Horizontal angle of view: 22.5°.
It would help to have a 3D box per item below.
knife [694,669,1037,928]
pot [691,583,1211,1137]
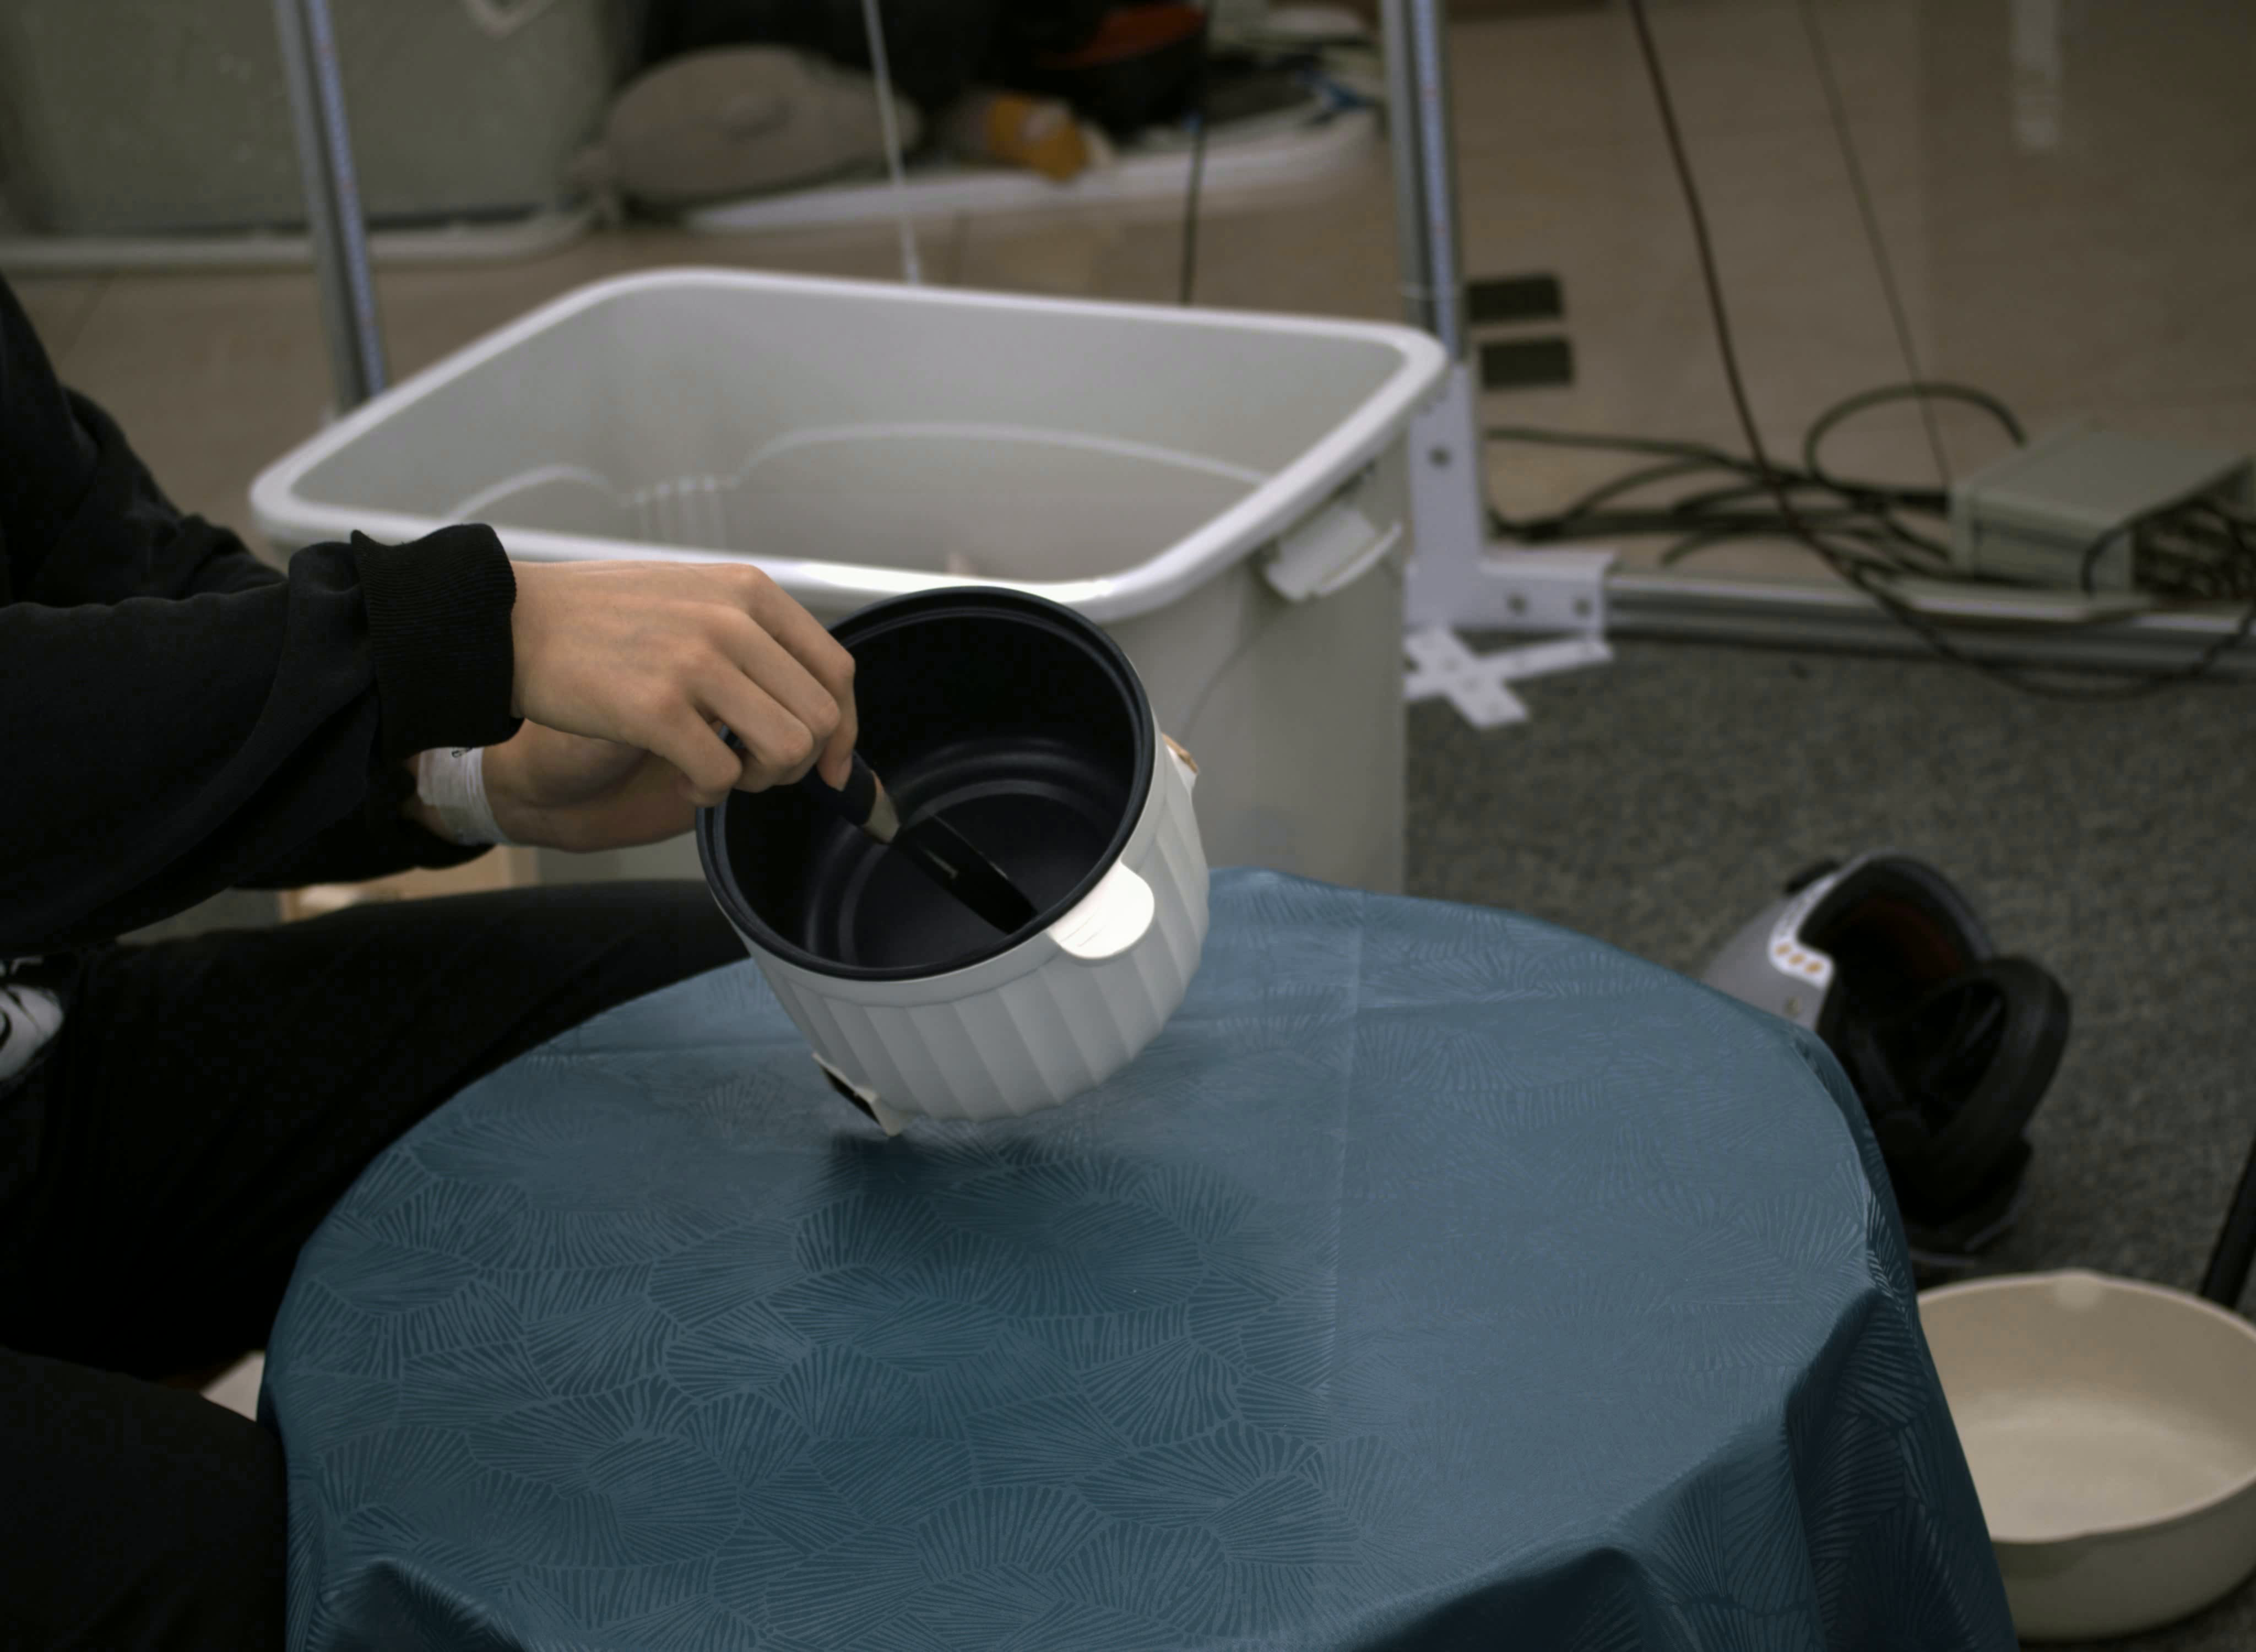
[{"bbox_3d":[-0.087,-0.002,2.081,0.017,0.228,0.026,-19,54,28],"label":"knife"},{"bbox_3d":[-0.058,0.014,2.191,0.238,0.145,0.189,36,77,32],"label":"pot"}]
